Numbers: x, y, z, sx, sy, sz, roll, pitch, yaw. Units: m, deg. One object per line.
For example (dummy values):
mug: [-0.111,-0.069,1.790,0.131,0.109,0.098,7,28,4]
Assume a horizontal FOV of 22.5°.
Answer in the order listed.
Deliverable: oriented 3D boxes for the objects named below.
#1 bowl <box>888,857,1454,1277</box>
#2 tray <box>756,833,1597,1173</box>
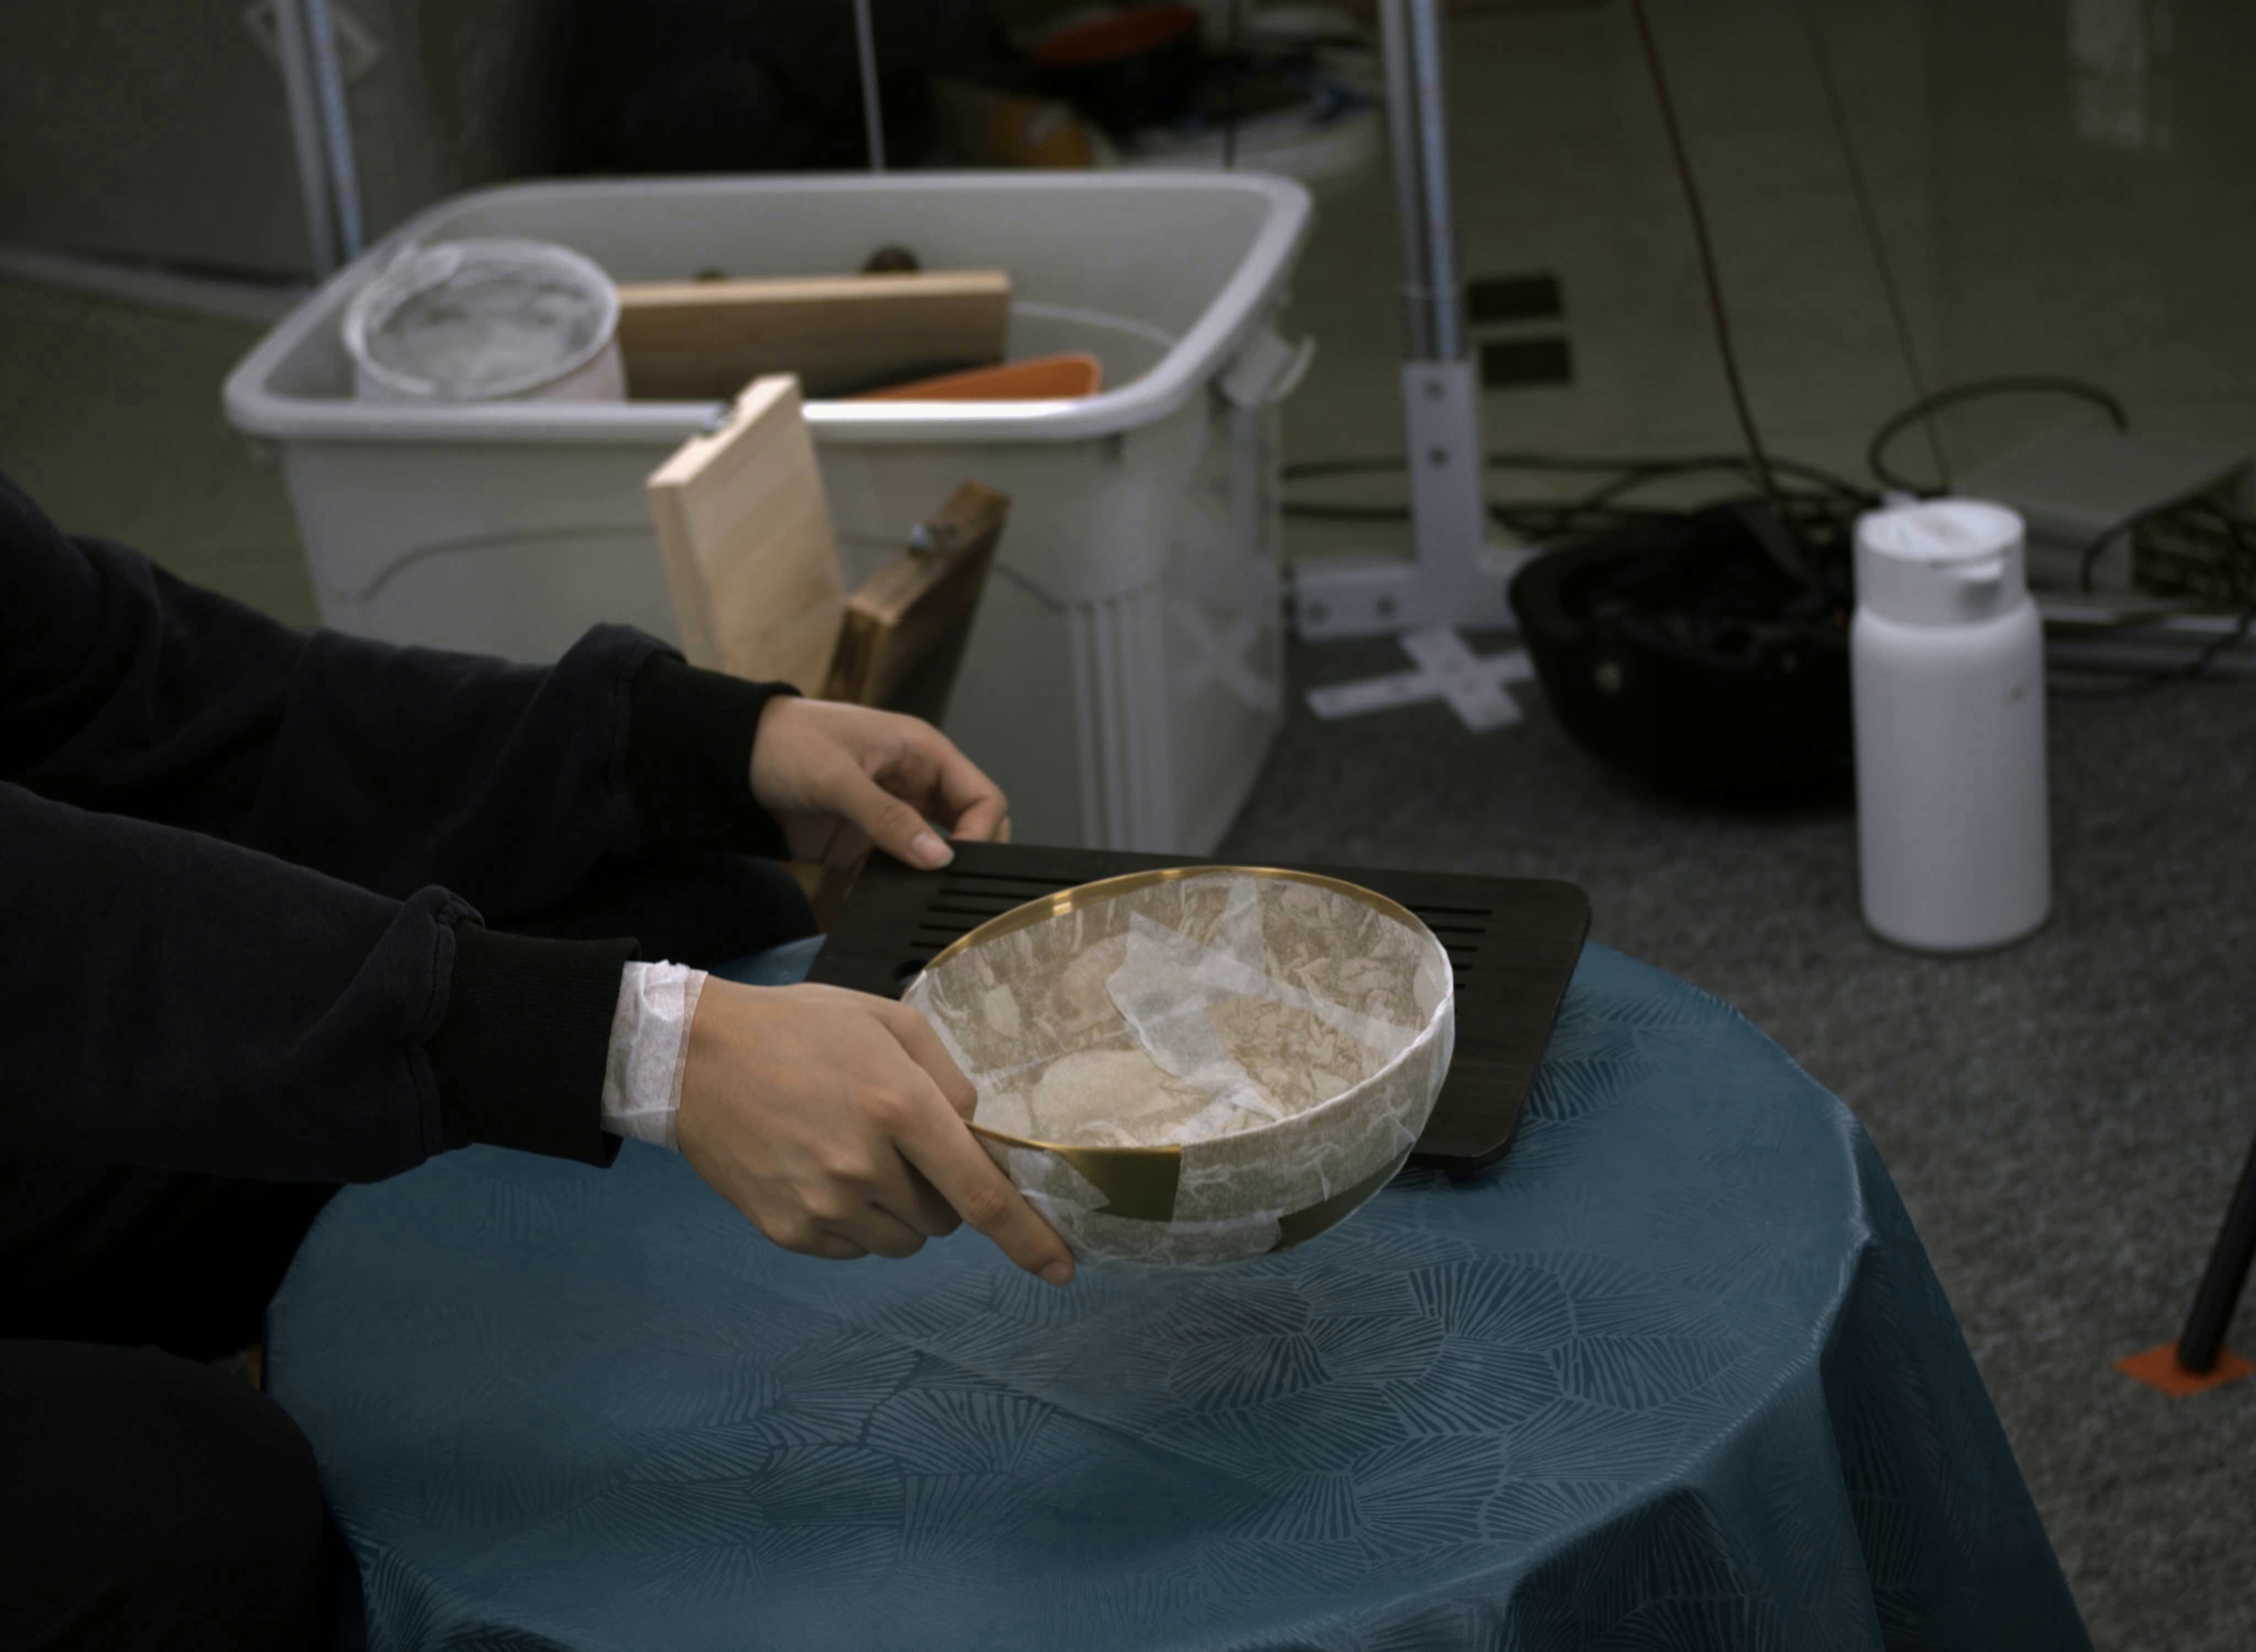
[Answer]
bowl: [0.018,0.098,2.023,0.214,0.096,0.211,-6,29,4]
tray: [0.020,0.069,2.229,0.305,0.019,0.167,4,39,17]
